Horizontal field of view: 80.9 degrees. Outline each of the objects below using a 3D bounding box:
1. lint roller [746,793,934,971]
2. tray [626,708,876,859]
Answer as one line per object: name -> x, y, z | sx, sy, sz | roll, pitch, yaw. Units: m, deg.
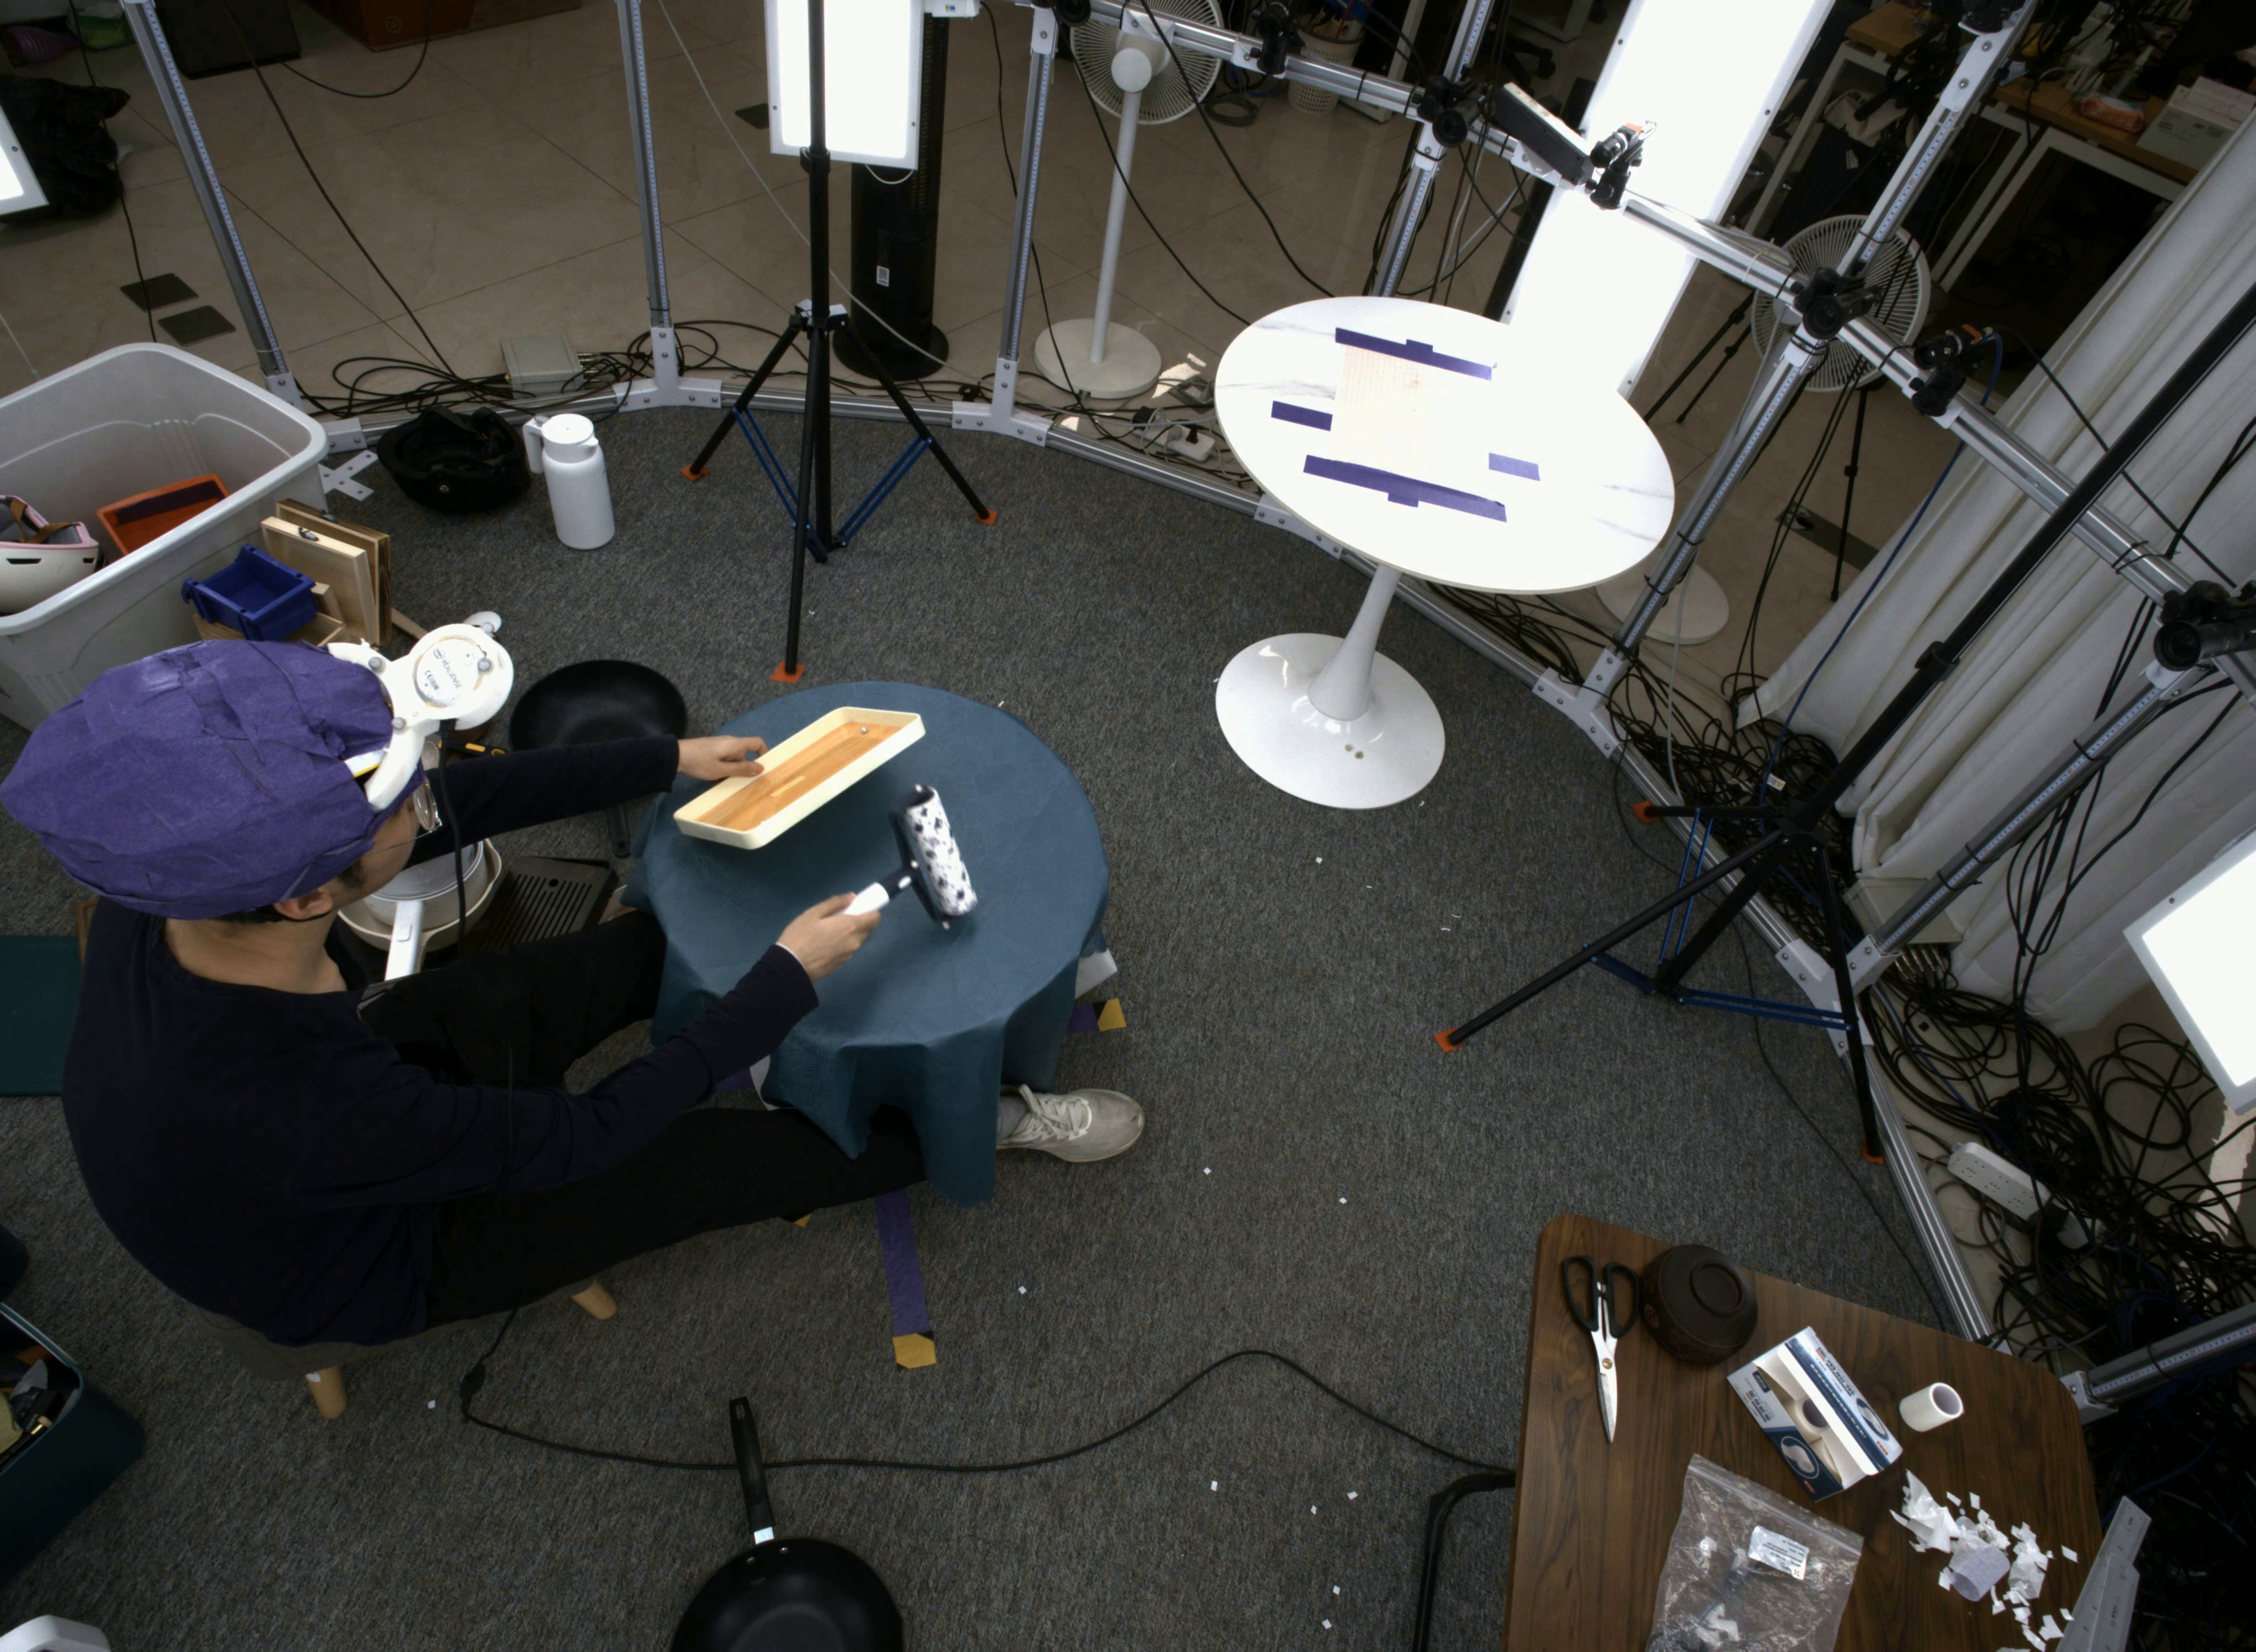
lint roller -> -0.353, 0.096, 1.563 | 0.048, 0.183, 0.247 | 13, 43, 41
tray -> -0.483, -0.063, 1.659 | 0.185, 0.028, 0.300 | 10, 39, 37
